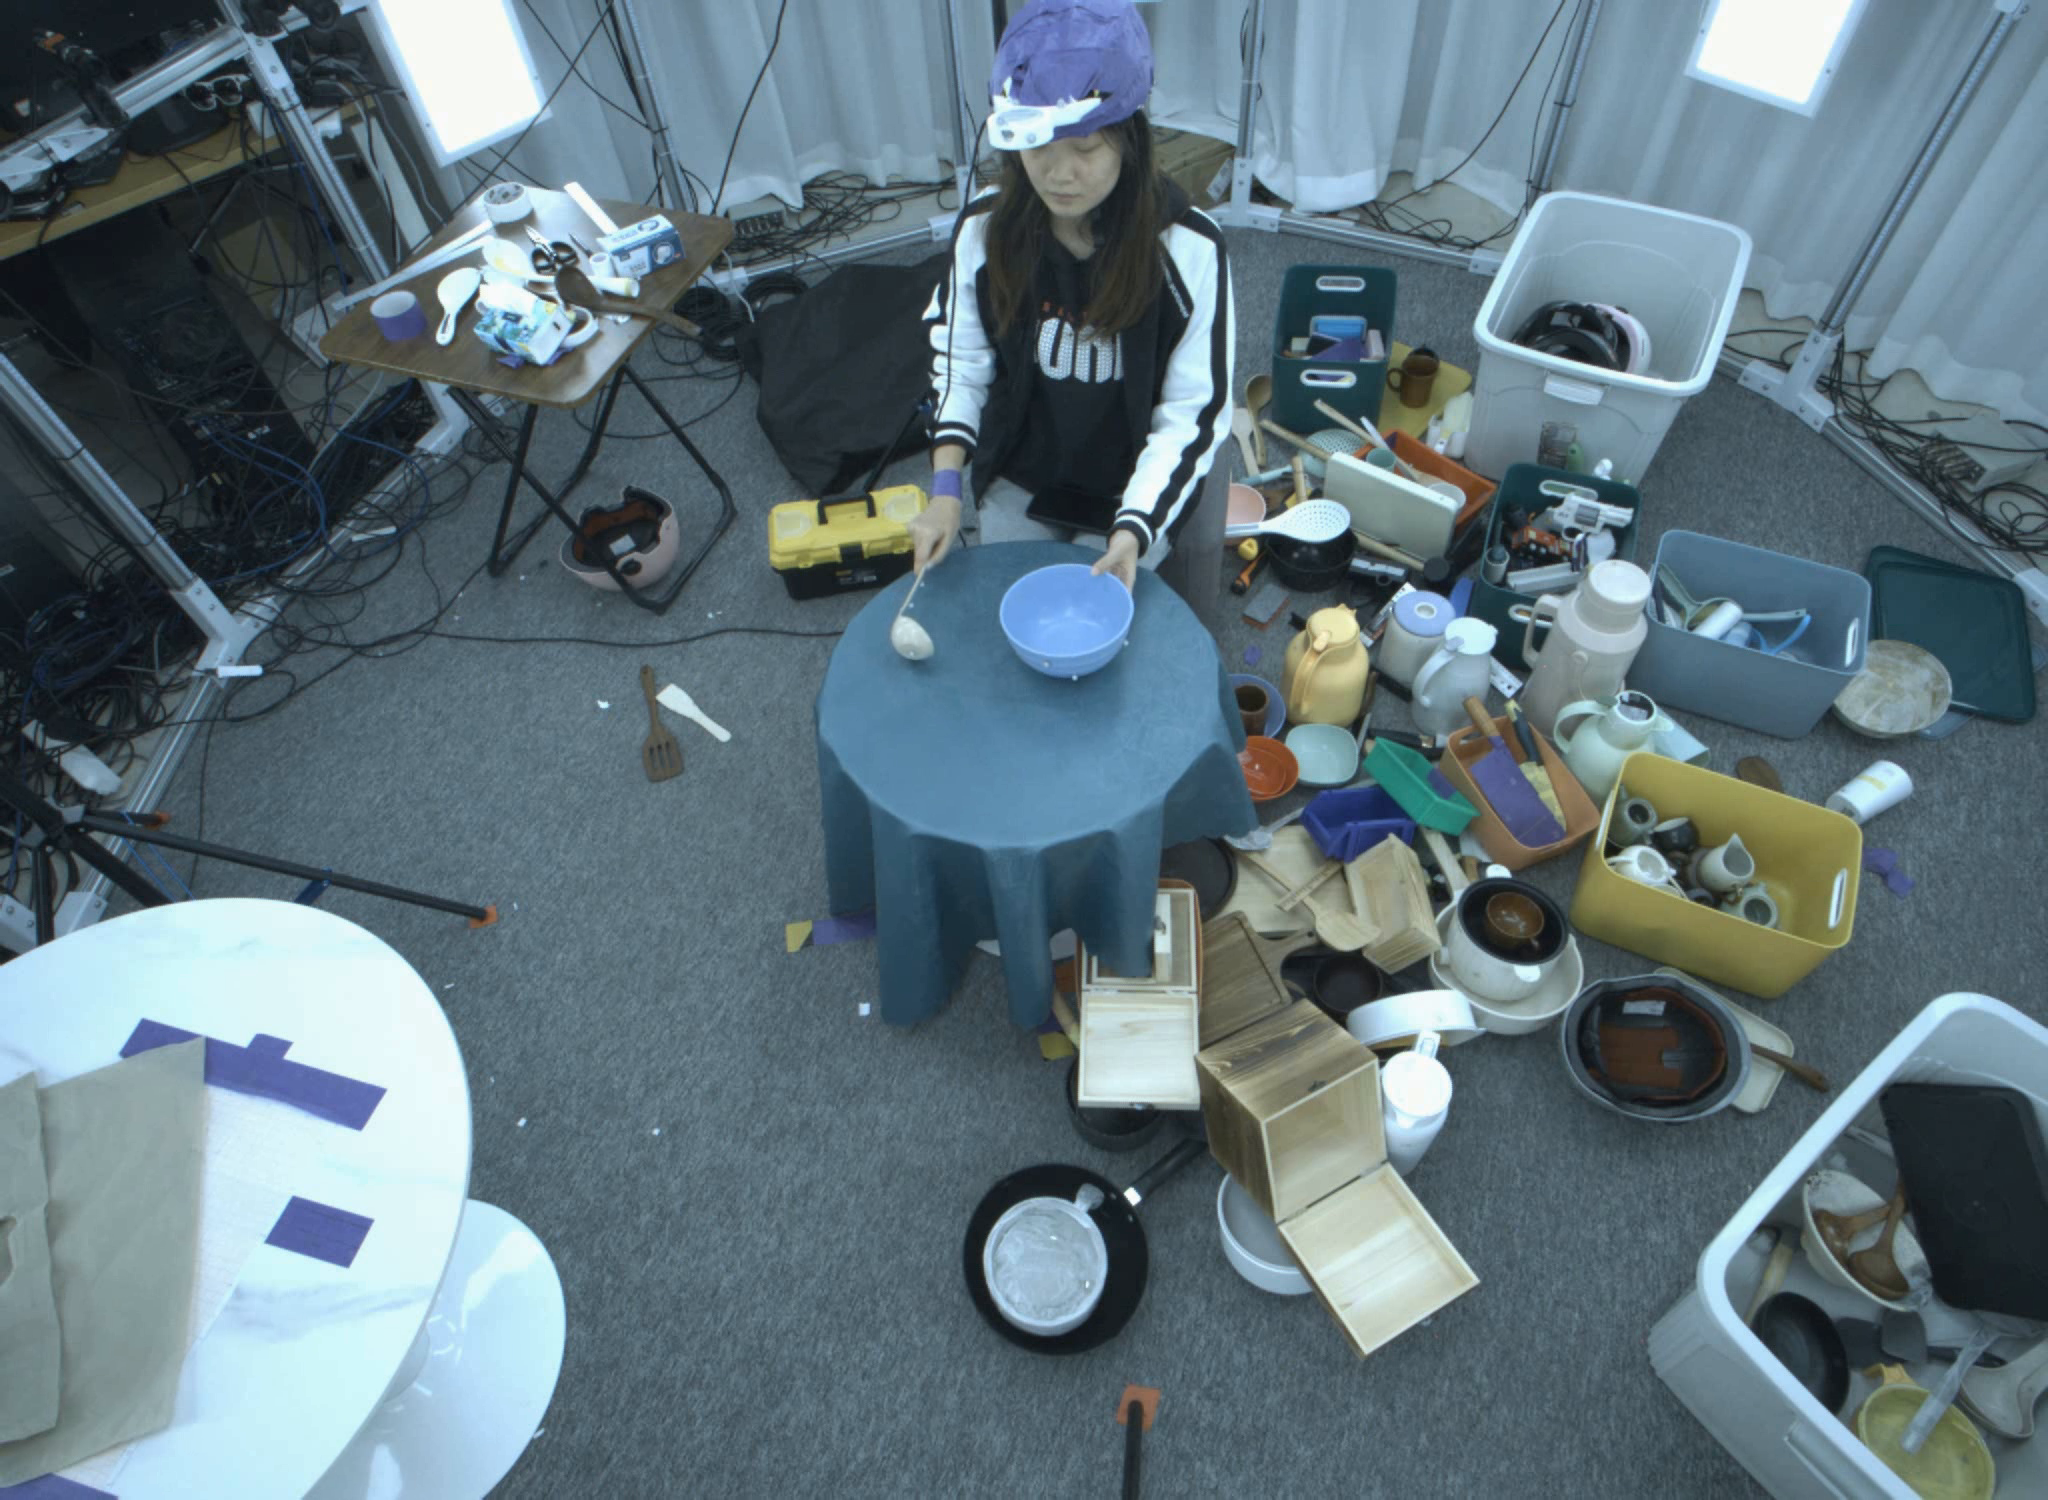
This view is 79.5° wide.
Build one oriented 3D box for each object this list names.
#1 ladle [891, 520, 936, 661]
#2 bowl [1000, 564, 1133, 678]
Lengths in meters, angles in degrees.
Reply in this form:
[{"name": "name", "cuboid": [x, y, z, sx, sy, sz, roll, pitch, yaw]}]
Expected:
[{"name": "ladle", "cuboid": [-0.144, -0.252, 1.911, 0.073, 0.072, 0.253, 19, 61, -5]}, {"name": "bowl", "cuboid": [0.066, -0.177, 1.836, 0.196, 0.096, 0.194, -2, 51, 4]}]
